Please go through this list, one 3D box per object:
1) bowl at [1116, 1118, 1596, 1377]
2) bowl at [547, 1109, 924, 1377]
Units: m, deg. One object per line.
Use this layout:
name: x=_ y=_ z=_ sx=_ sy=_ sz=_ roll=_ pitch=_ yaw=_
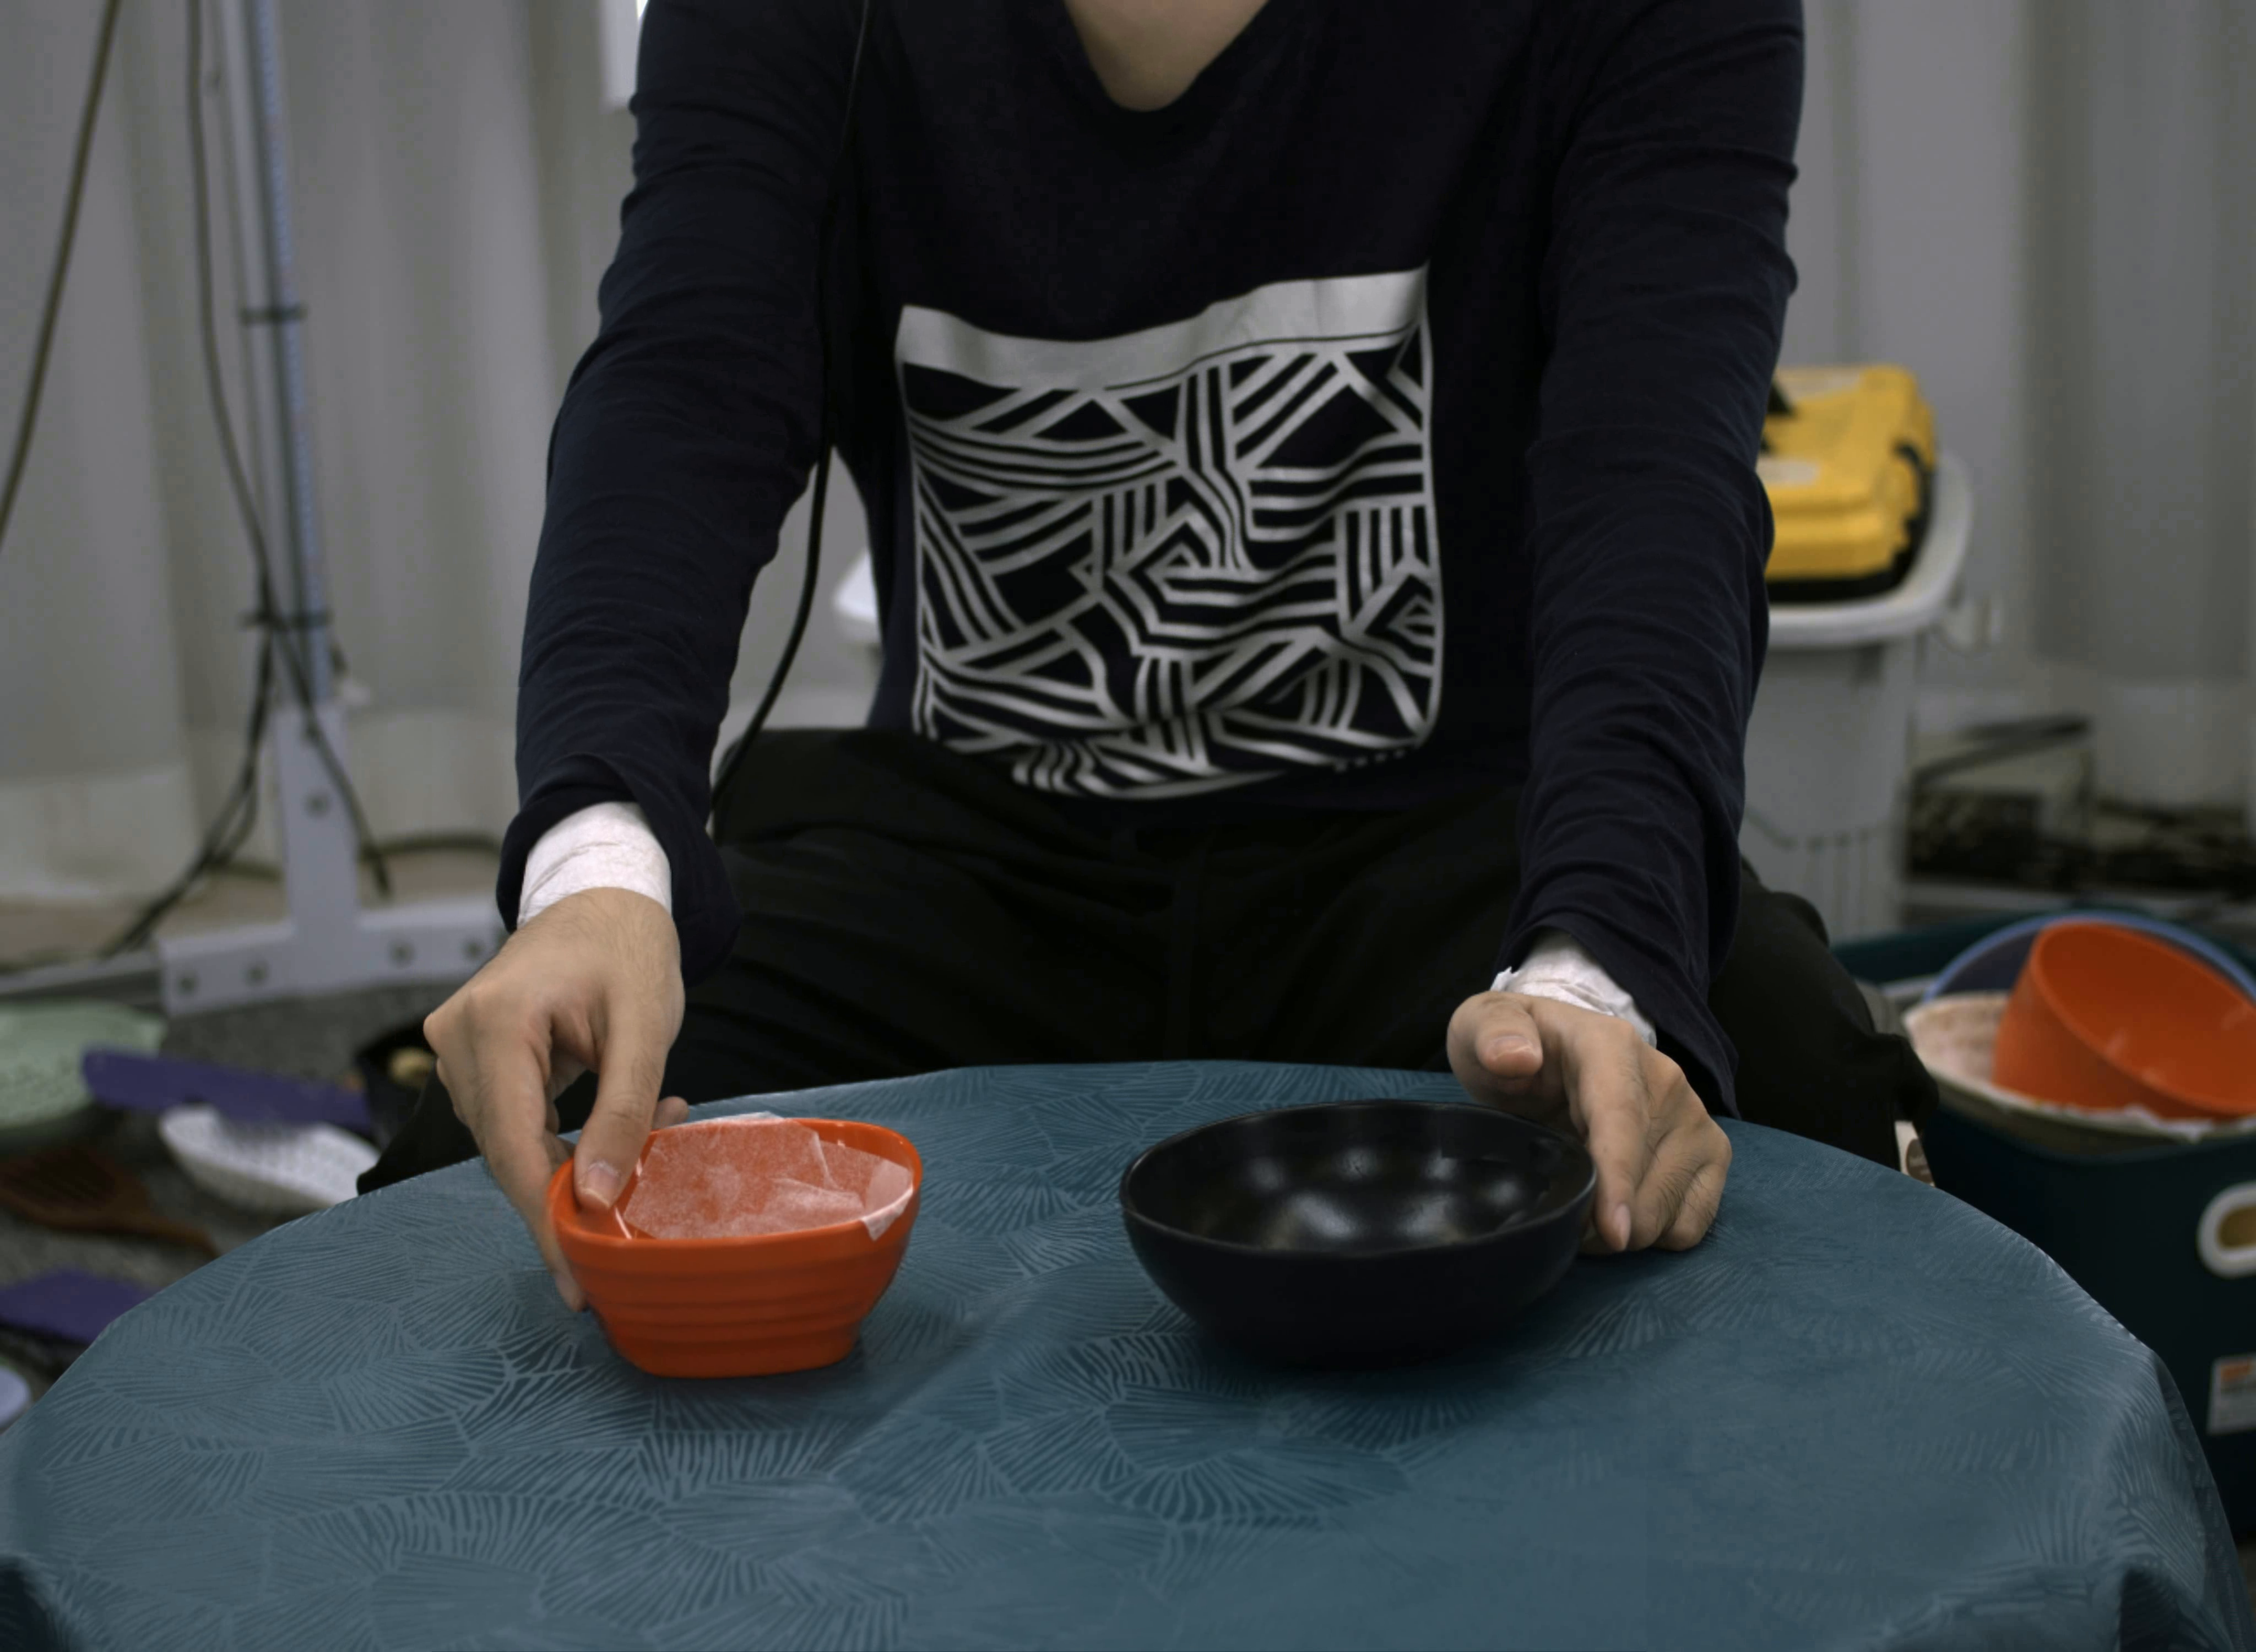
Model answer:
bowl: x=0.067 y=0.125 z=1.578 sx=0.139 sy=0.049 sz=0.141 roll=-3 pitch=11 yaw=0
bowl: x=-0.113 y=0.125 z=1.598 sx=0.118 sy=0.051 sz=0.120 roll=-4 pitch=16 yaw=1
